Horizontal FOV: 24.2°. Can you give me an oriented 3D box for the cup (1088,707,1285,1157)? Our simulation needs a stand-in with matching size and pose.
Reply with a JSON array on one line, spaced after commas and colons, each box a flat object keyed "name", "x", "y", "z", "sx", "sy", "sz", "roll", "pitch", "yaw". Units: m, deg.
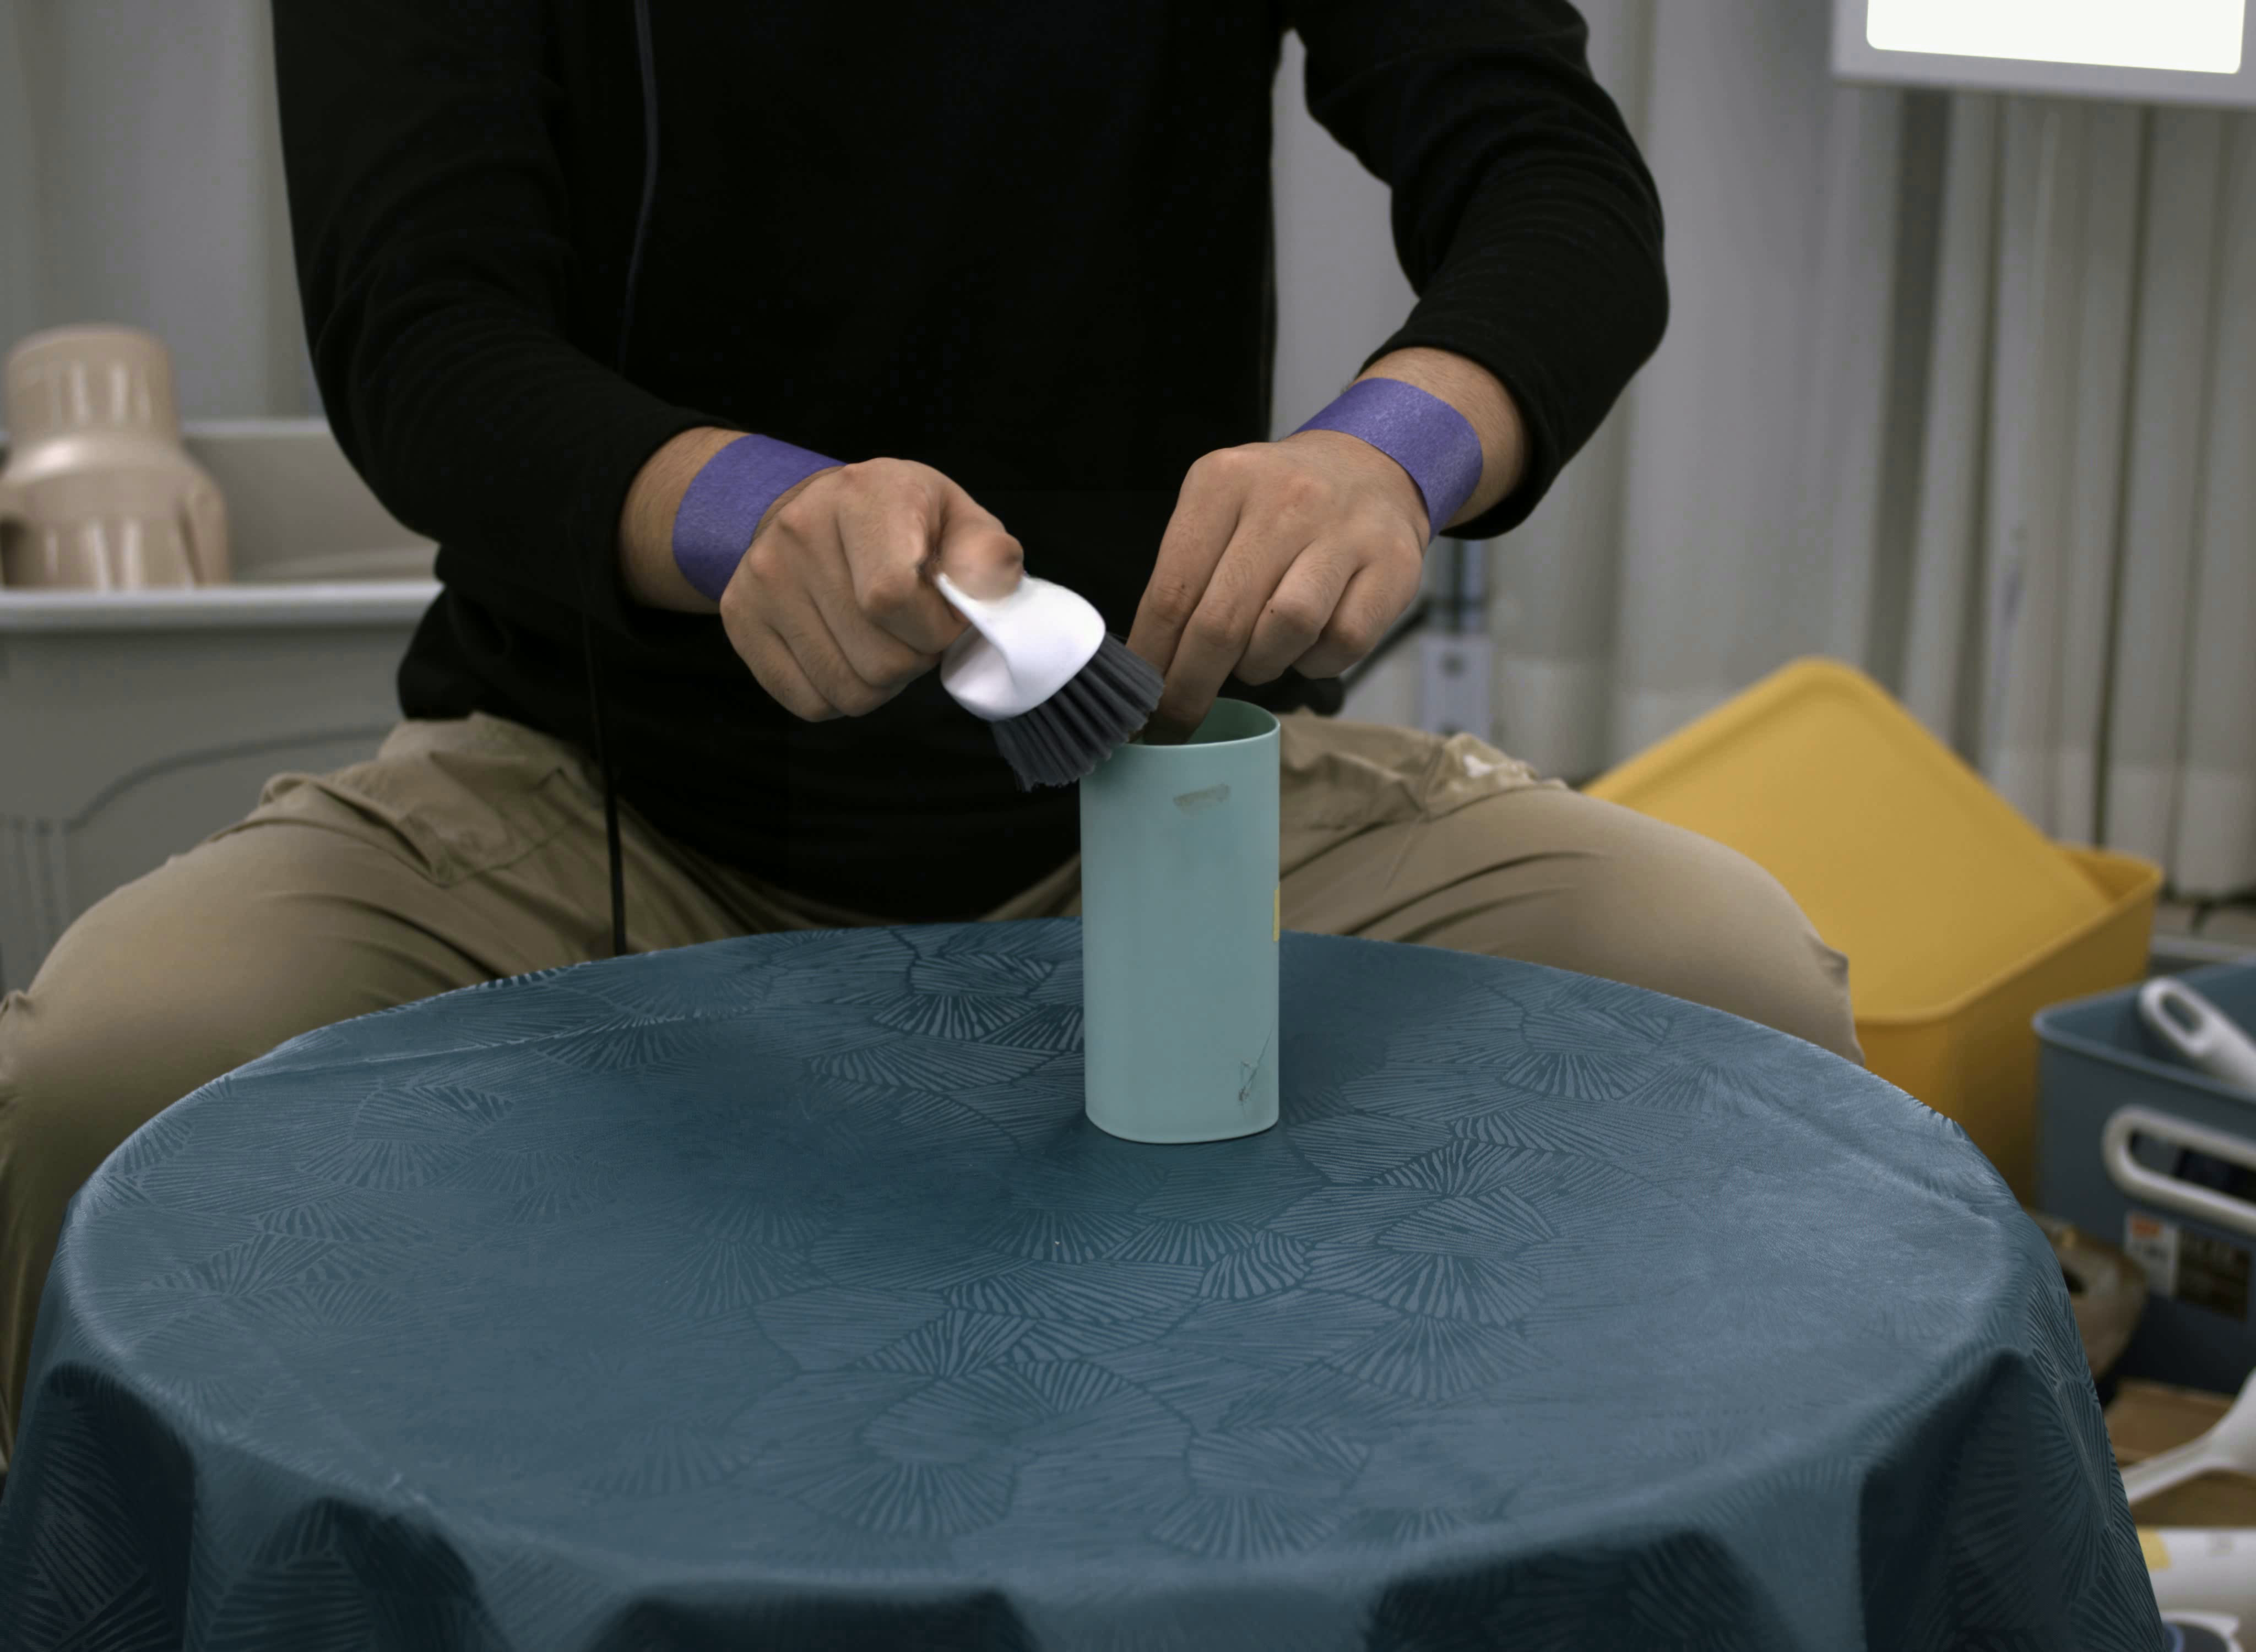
[{"name": "cup", "x": 0.017, "y": 0.033, "z": 1.676, "sx": 0.066, "sy": 0.133, "sz": 0.066, "roll": 0, "pitch": 17, "yaw": 1}]

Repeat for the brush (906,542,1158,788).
[{"name": "brush", "x": -0.038, "y": -0.058, "z": 1.643, "sx": 0.050, "sy": 0.073, "sz": 0.098, "roll": -44, "pitch": 18, "yaw": -3}]
